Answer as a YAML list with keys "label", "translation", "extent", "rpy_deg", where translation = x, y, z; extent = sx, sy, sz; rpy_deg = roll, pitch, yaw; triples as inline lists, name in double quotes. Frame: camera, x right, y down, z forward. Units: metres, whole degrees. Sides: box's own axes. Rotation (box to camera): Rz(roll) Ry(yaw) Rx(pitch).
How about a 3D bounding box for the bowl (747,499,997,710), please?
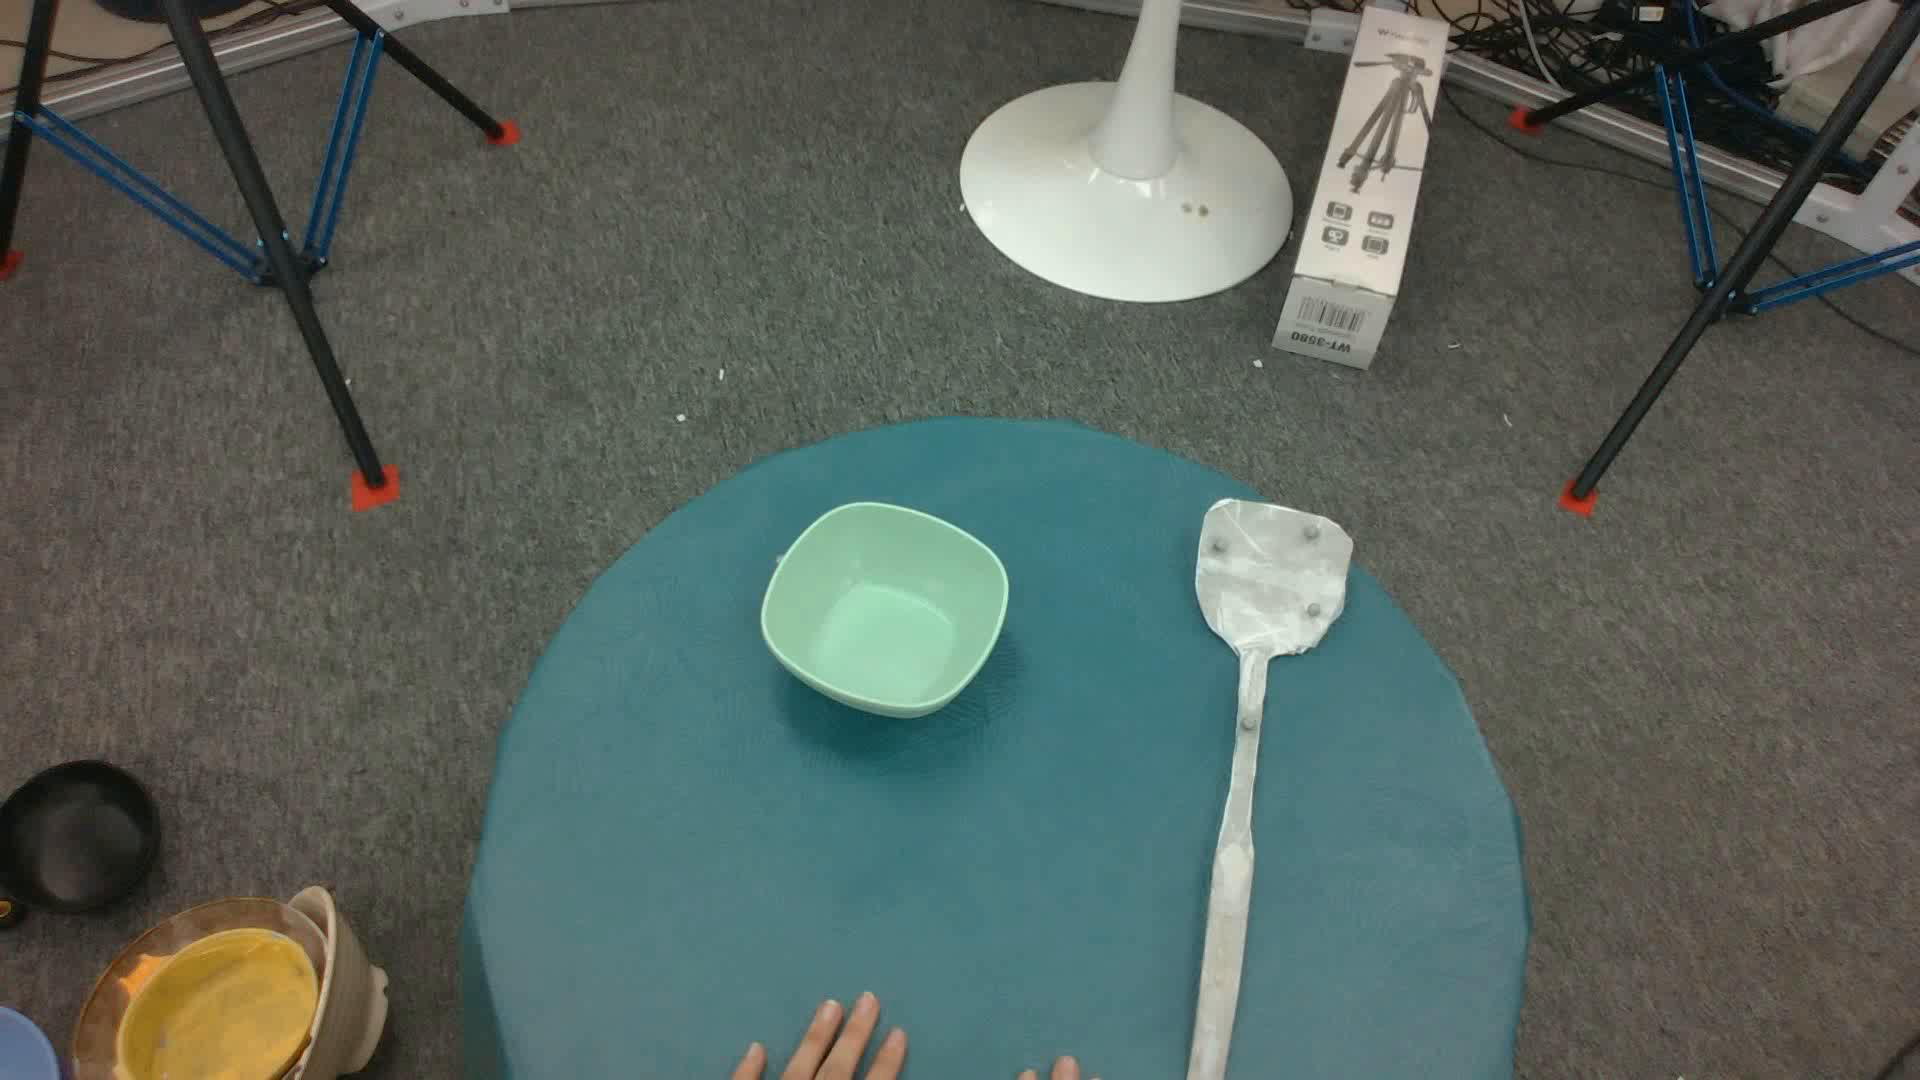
- label: "bowl"
  translation: [-0.052, 0.048, 0.834]
  extent: [0.151, 0.058, 0.152]
  rpy_deg: [2, 50, -2]

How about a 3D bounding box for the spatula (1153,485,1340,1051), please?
- label: "spatula"
  translation: [0.159, 0.120, 0.815]
  extent: [0.098, 0.044, 0.367]
  rpy_deg: [15, 53, 3]
